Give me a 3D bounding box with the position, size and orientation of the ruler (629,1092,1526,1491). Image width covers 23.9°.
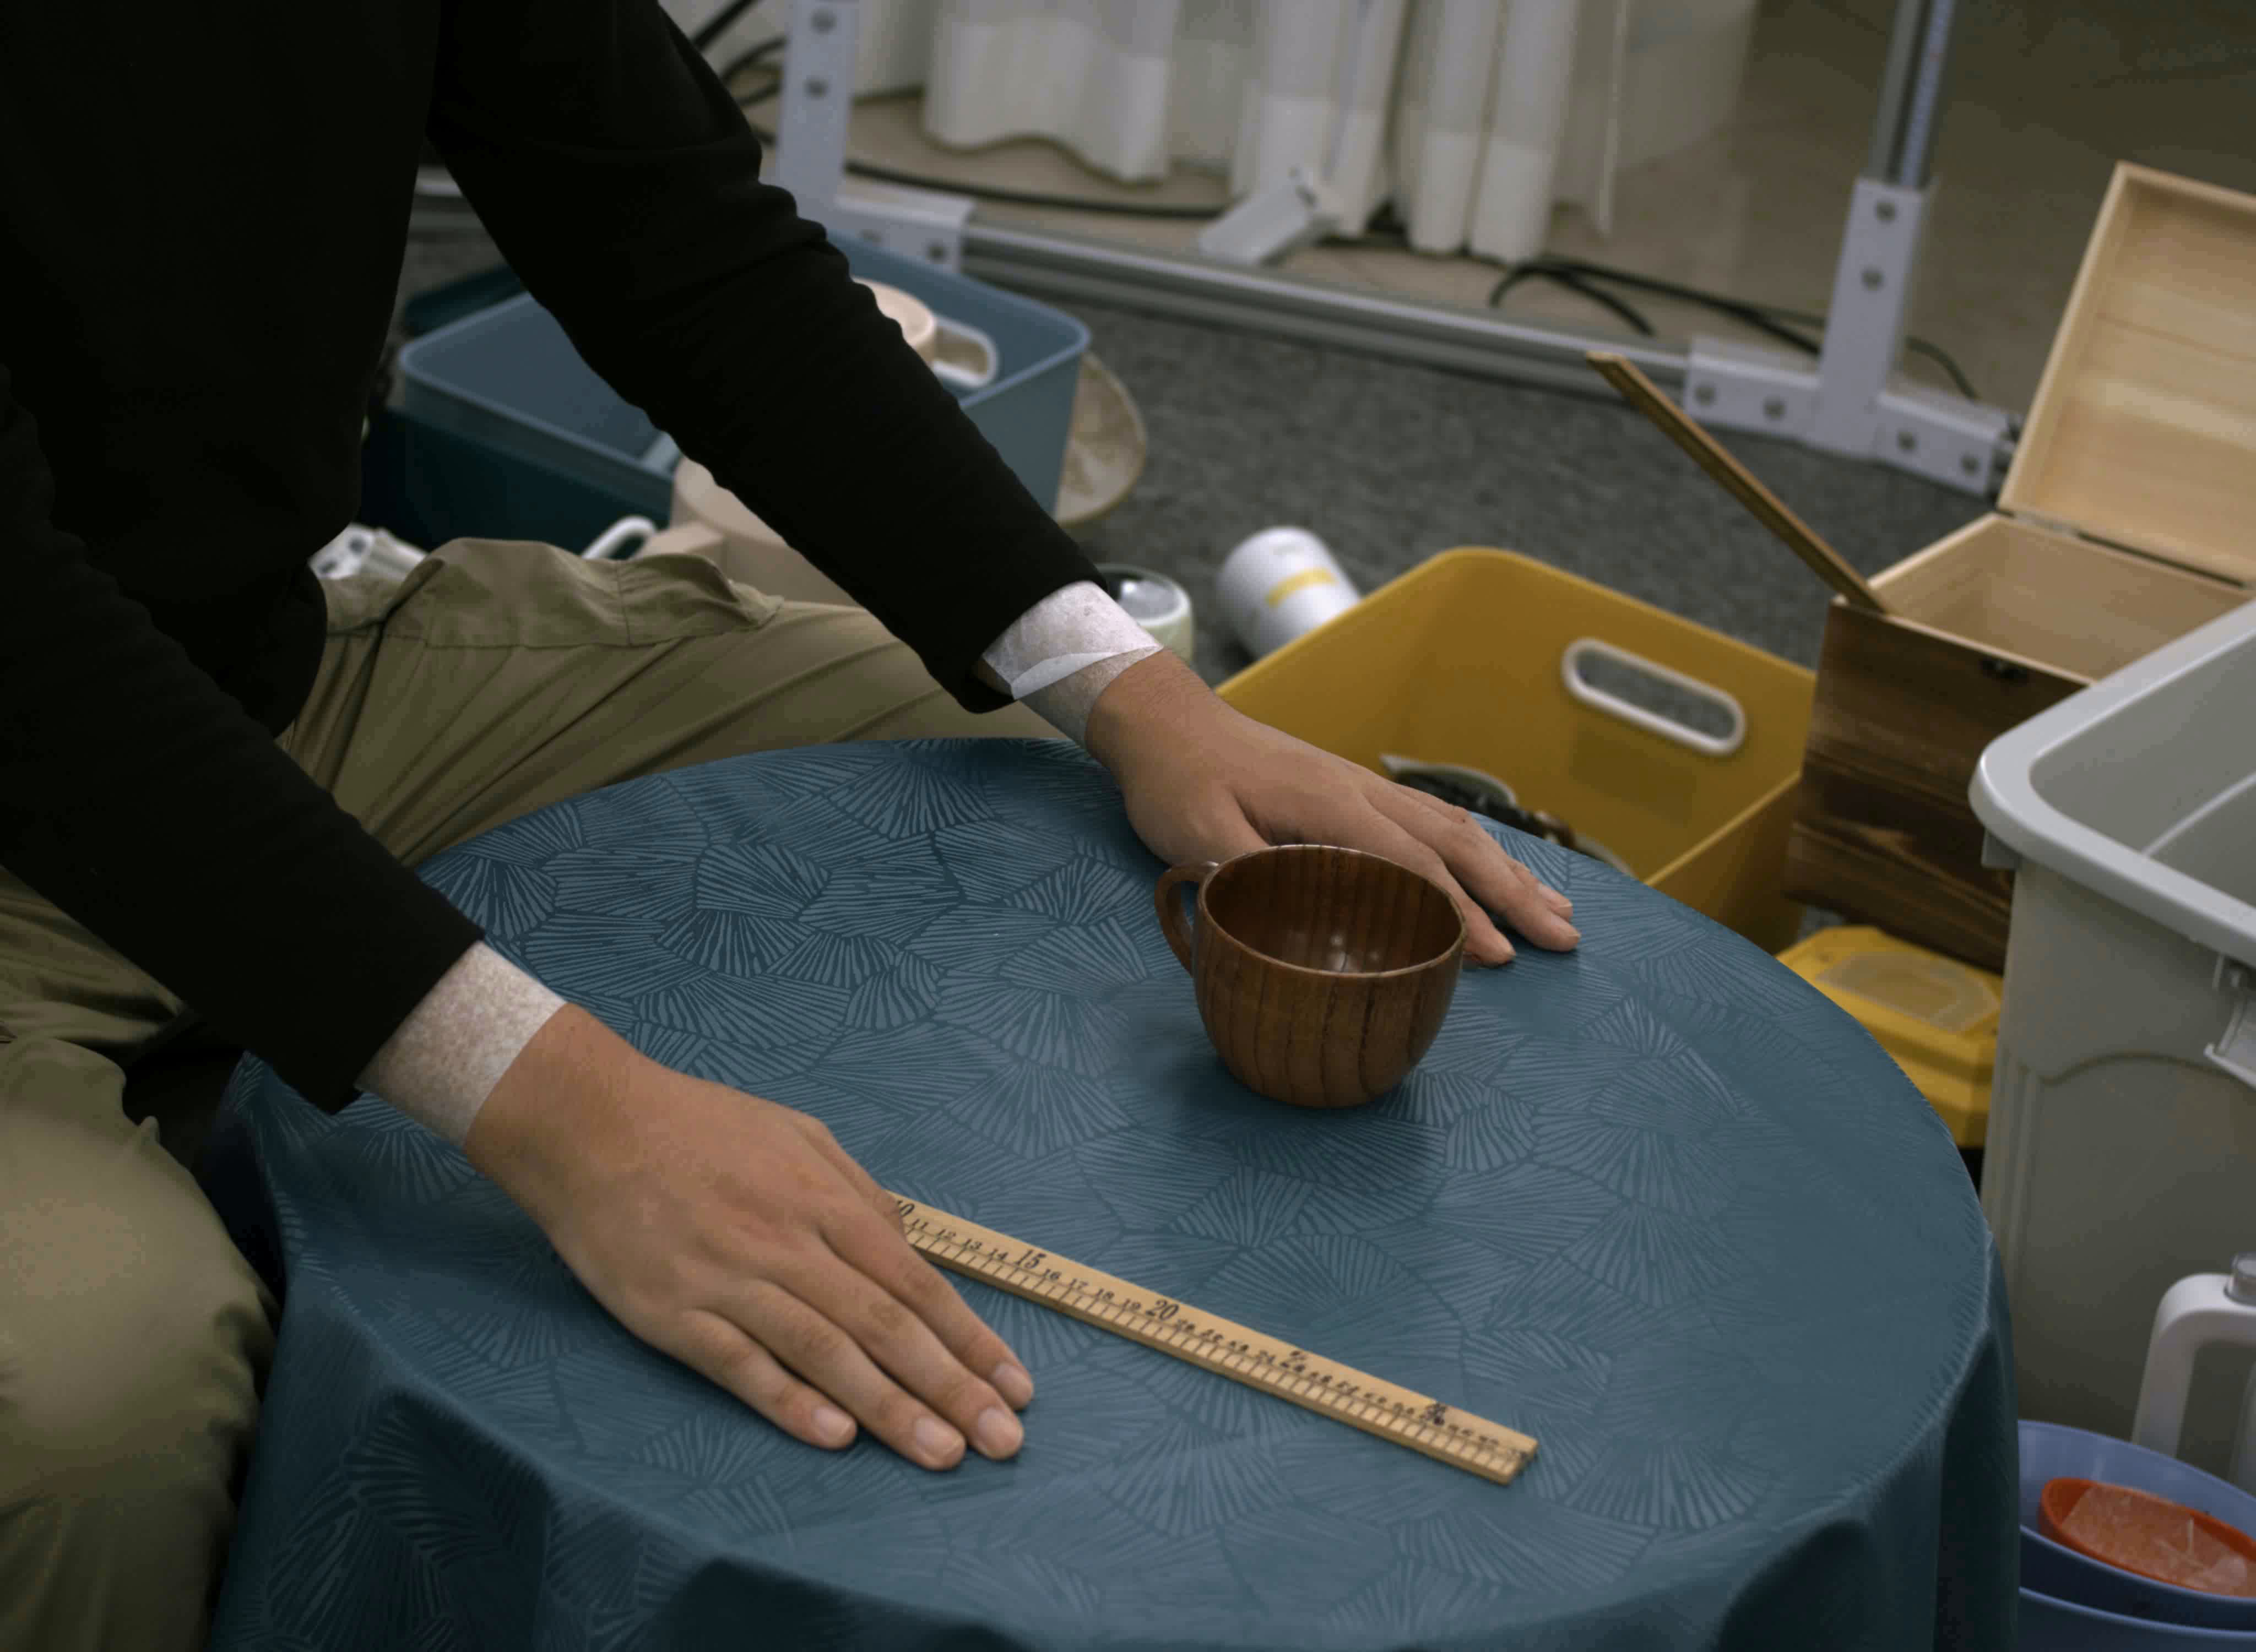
[{"bbox_3d":[-0.021,0.147,1.739,0.333,0.022,0.027,21,25,24],"label":"ruler"}]

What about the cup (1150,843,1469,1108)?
[{"bbox_3d":[0.060,0.053,1.883,0.120,0.067,0.096,21,32,28],"label":"cup"}]
